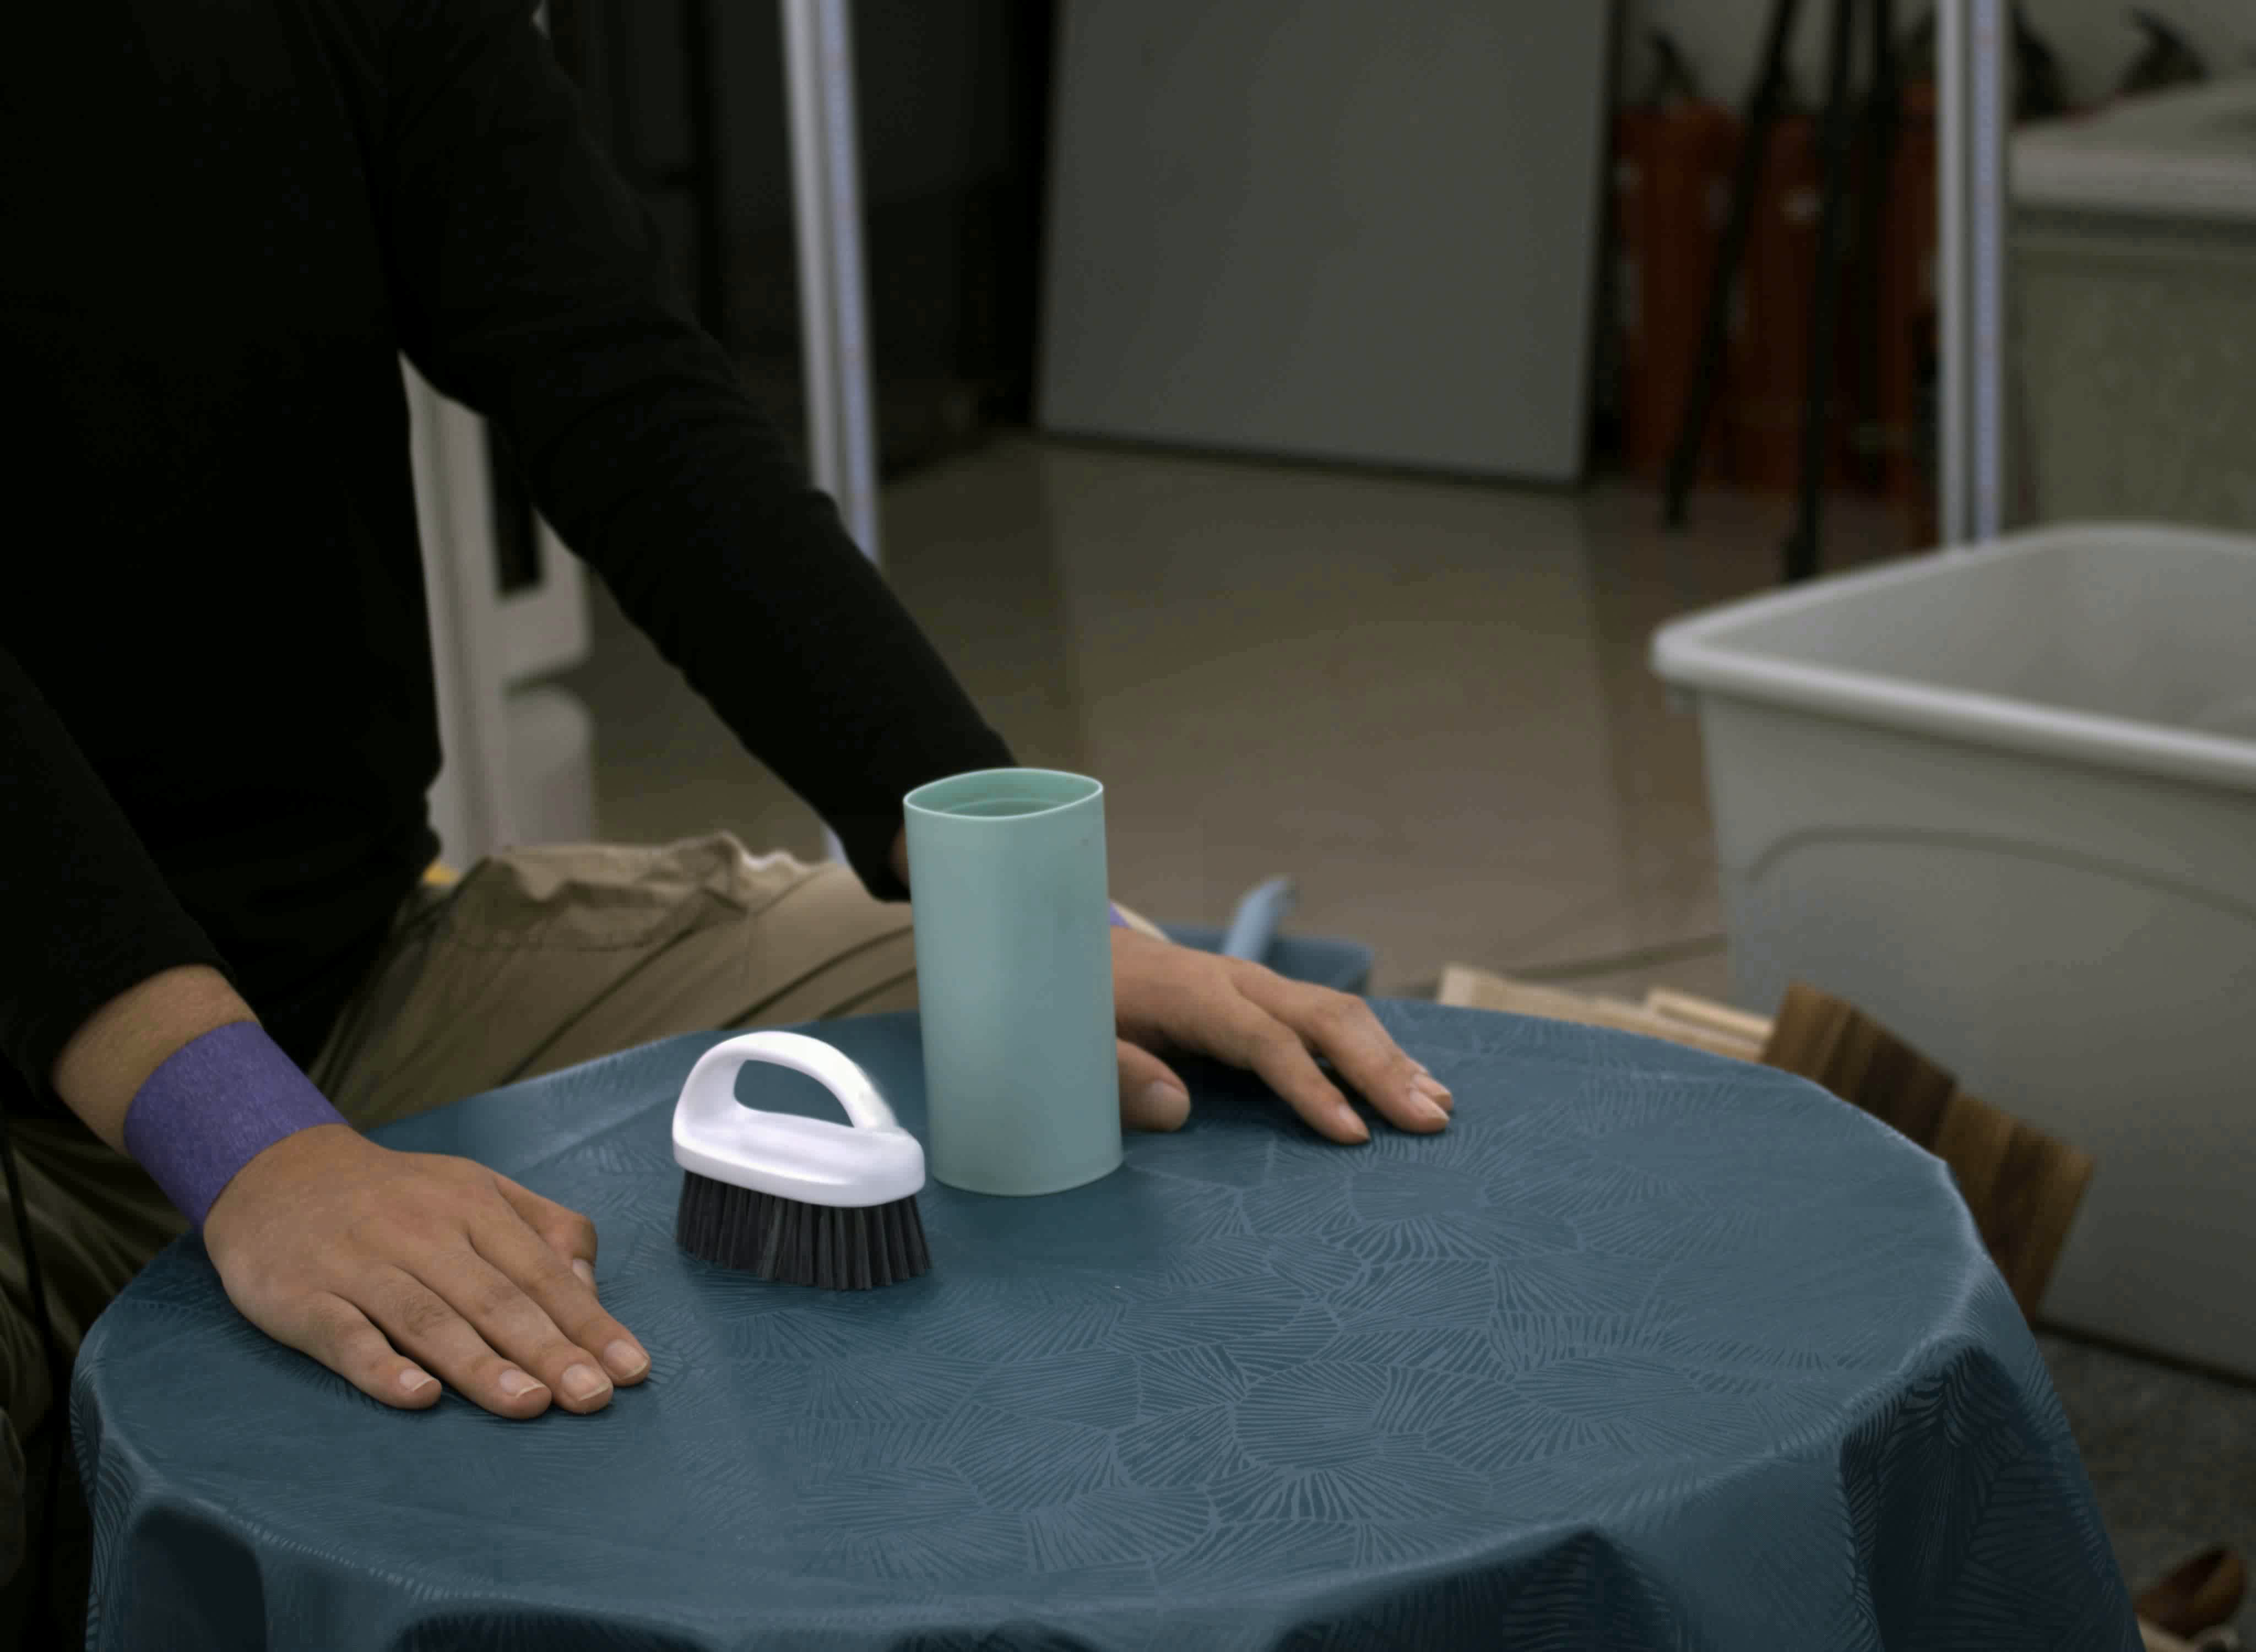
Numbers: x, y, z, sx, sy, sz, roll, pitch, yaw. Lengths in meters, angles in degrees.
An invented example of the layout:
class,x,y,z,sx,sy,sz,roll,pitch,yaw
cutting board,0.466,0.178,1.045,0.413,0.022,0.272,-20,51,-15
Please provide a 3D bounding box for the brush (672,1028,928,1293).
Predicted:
class,x,y,z,sx,sy,sz,roll,pitch,yaw
brush,-0.106,0.102,1.720,0.049,0.073,0.100,-14,17,-41

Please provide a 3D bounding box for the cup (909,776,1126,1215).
class,x,y,z,sx,sy,sz,roll,pitch,yaw
cup,-0.037,0.056,1.787,0.066,0.134,0.067,-3,14,0
